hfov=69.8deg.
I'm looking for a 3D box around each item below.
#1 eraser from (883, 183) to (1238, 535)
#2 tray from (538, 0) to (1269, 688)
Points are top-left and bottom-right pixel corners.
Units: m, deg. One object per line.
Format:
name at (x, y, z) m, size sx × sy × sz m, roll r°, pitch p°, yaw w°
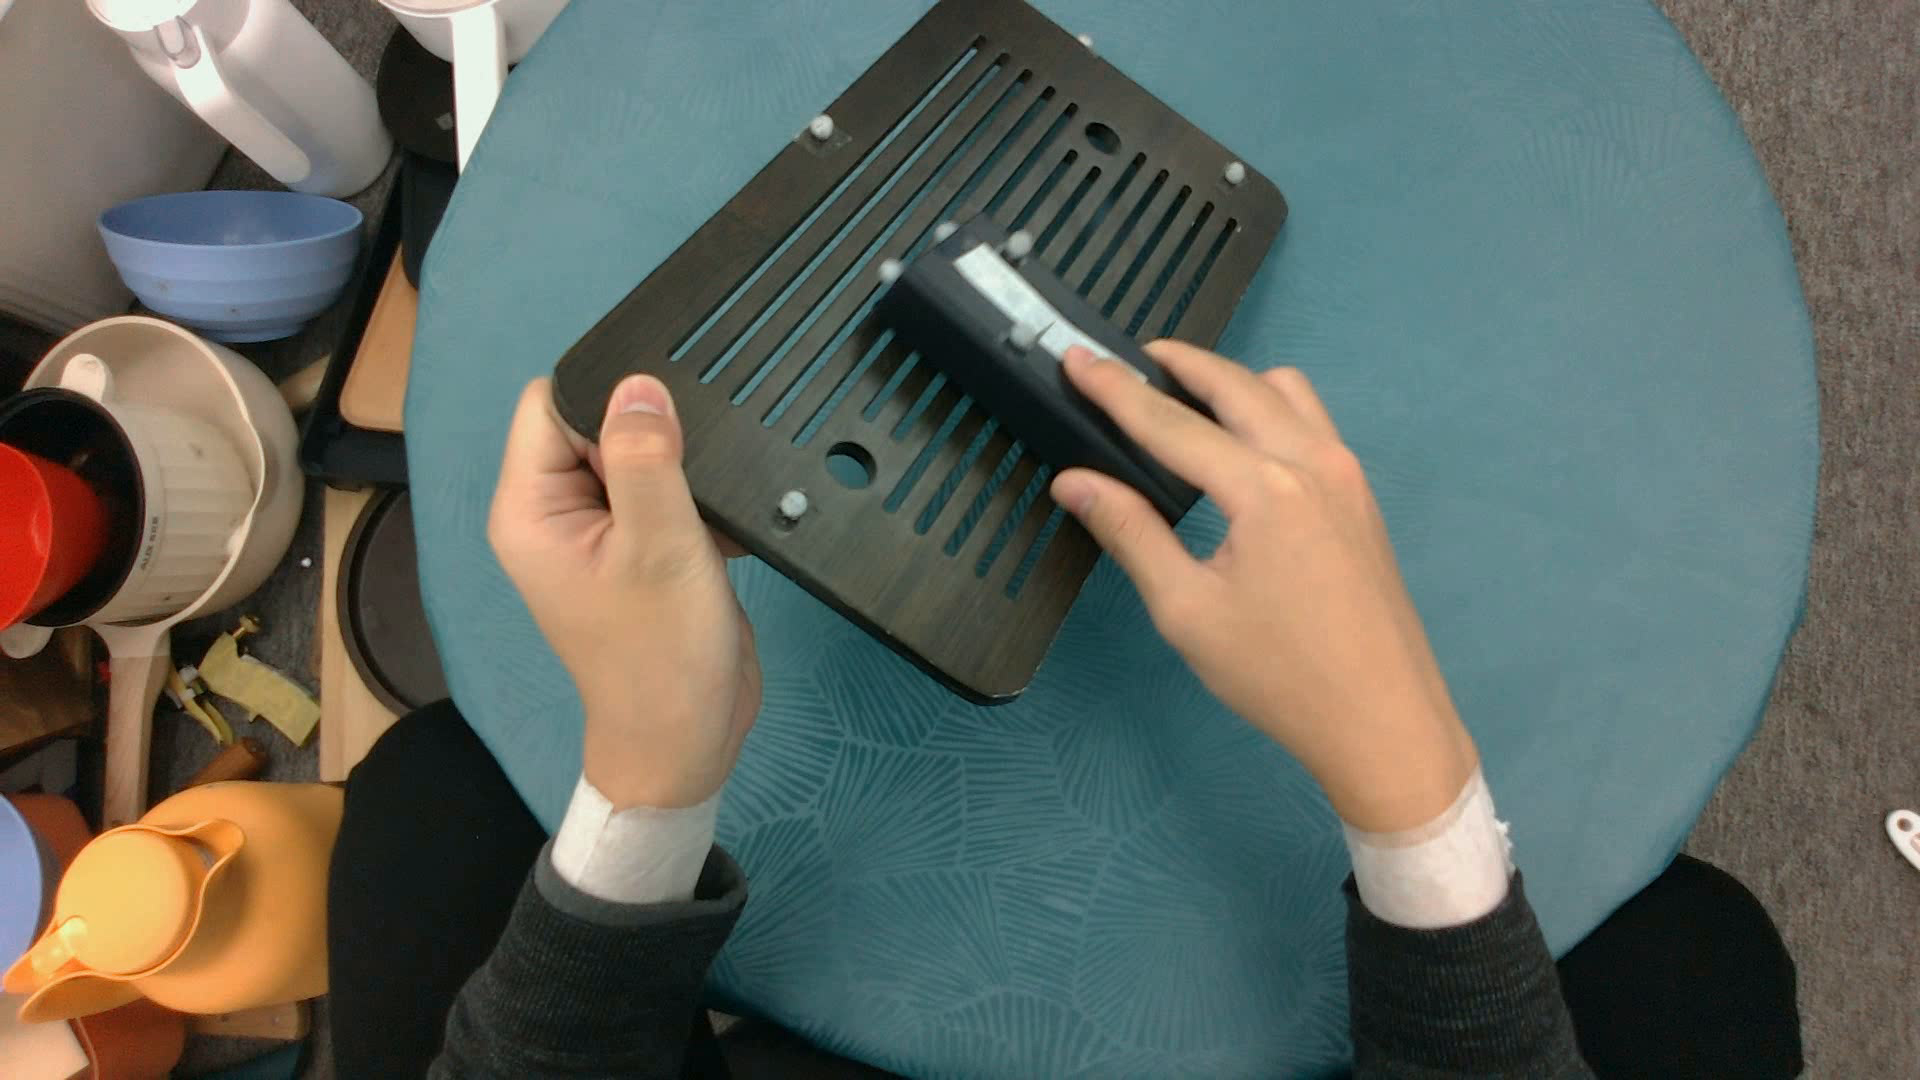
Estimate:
eraser at (0.034, -0.062, 0.471) m, size 0.125 × 0.030 × 0.054 m, roll 44°, pitch 54°, yaw 1°
tray at (0.002, -0.098, 0.503) m, size 0.170 × 0.018 × 0.307 m, roll 35°, pitch 51°, yaw -3°
